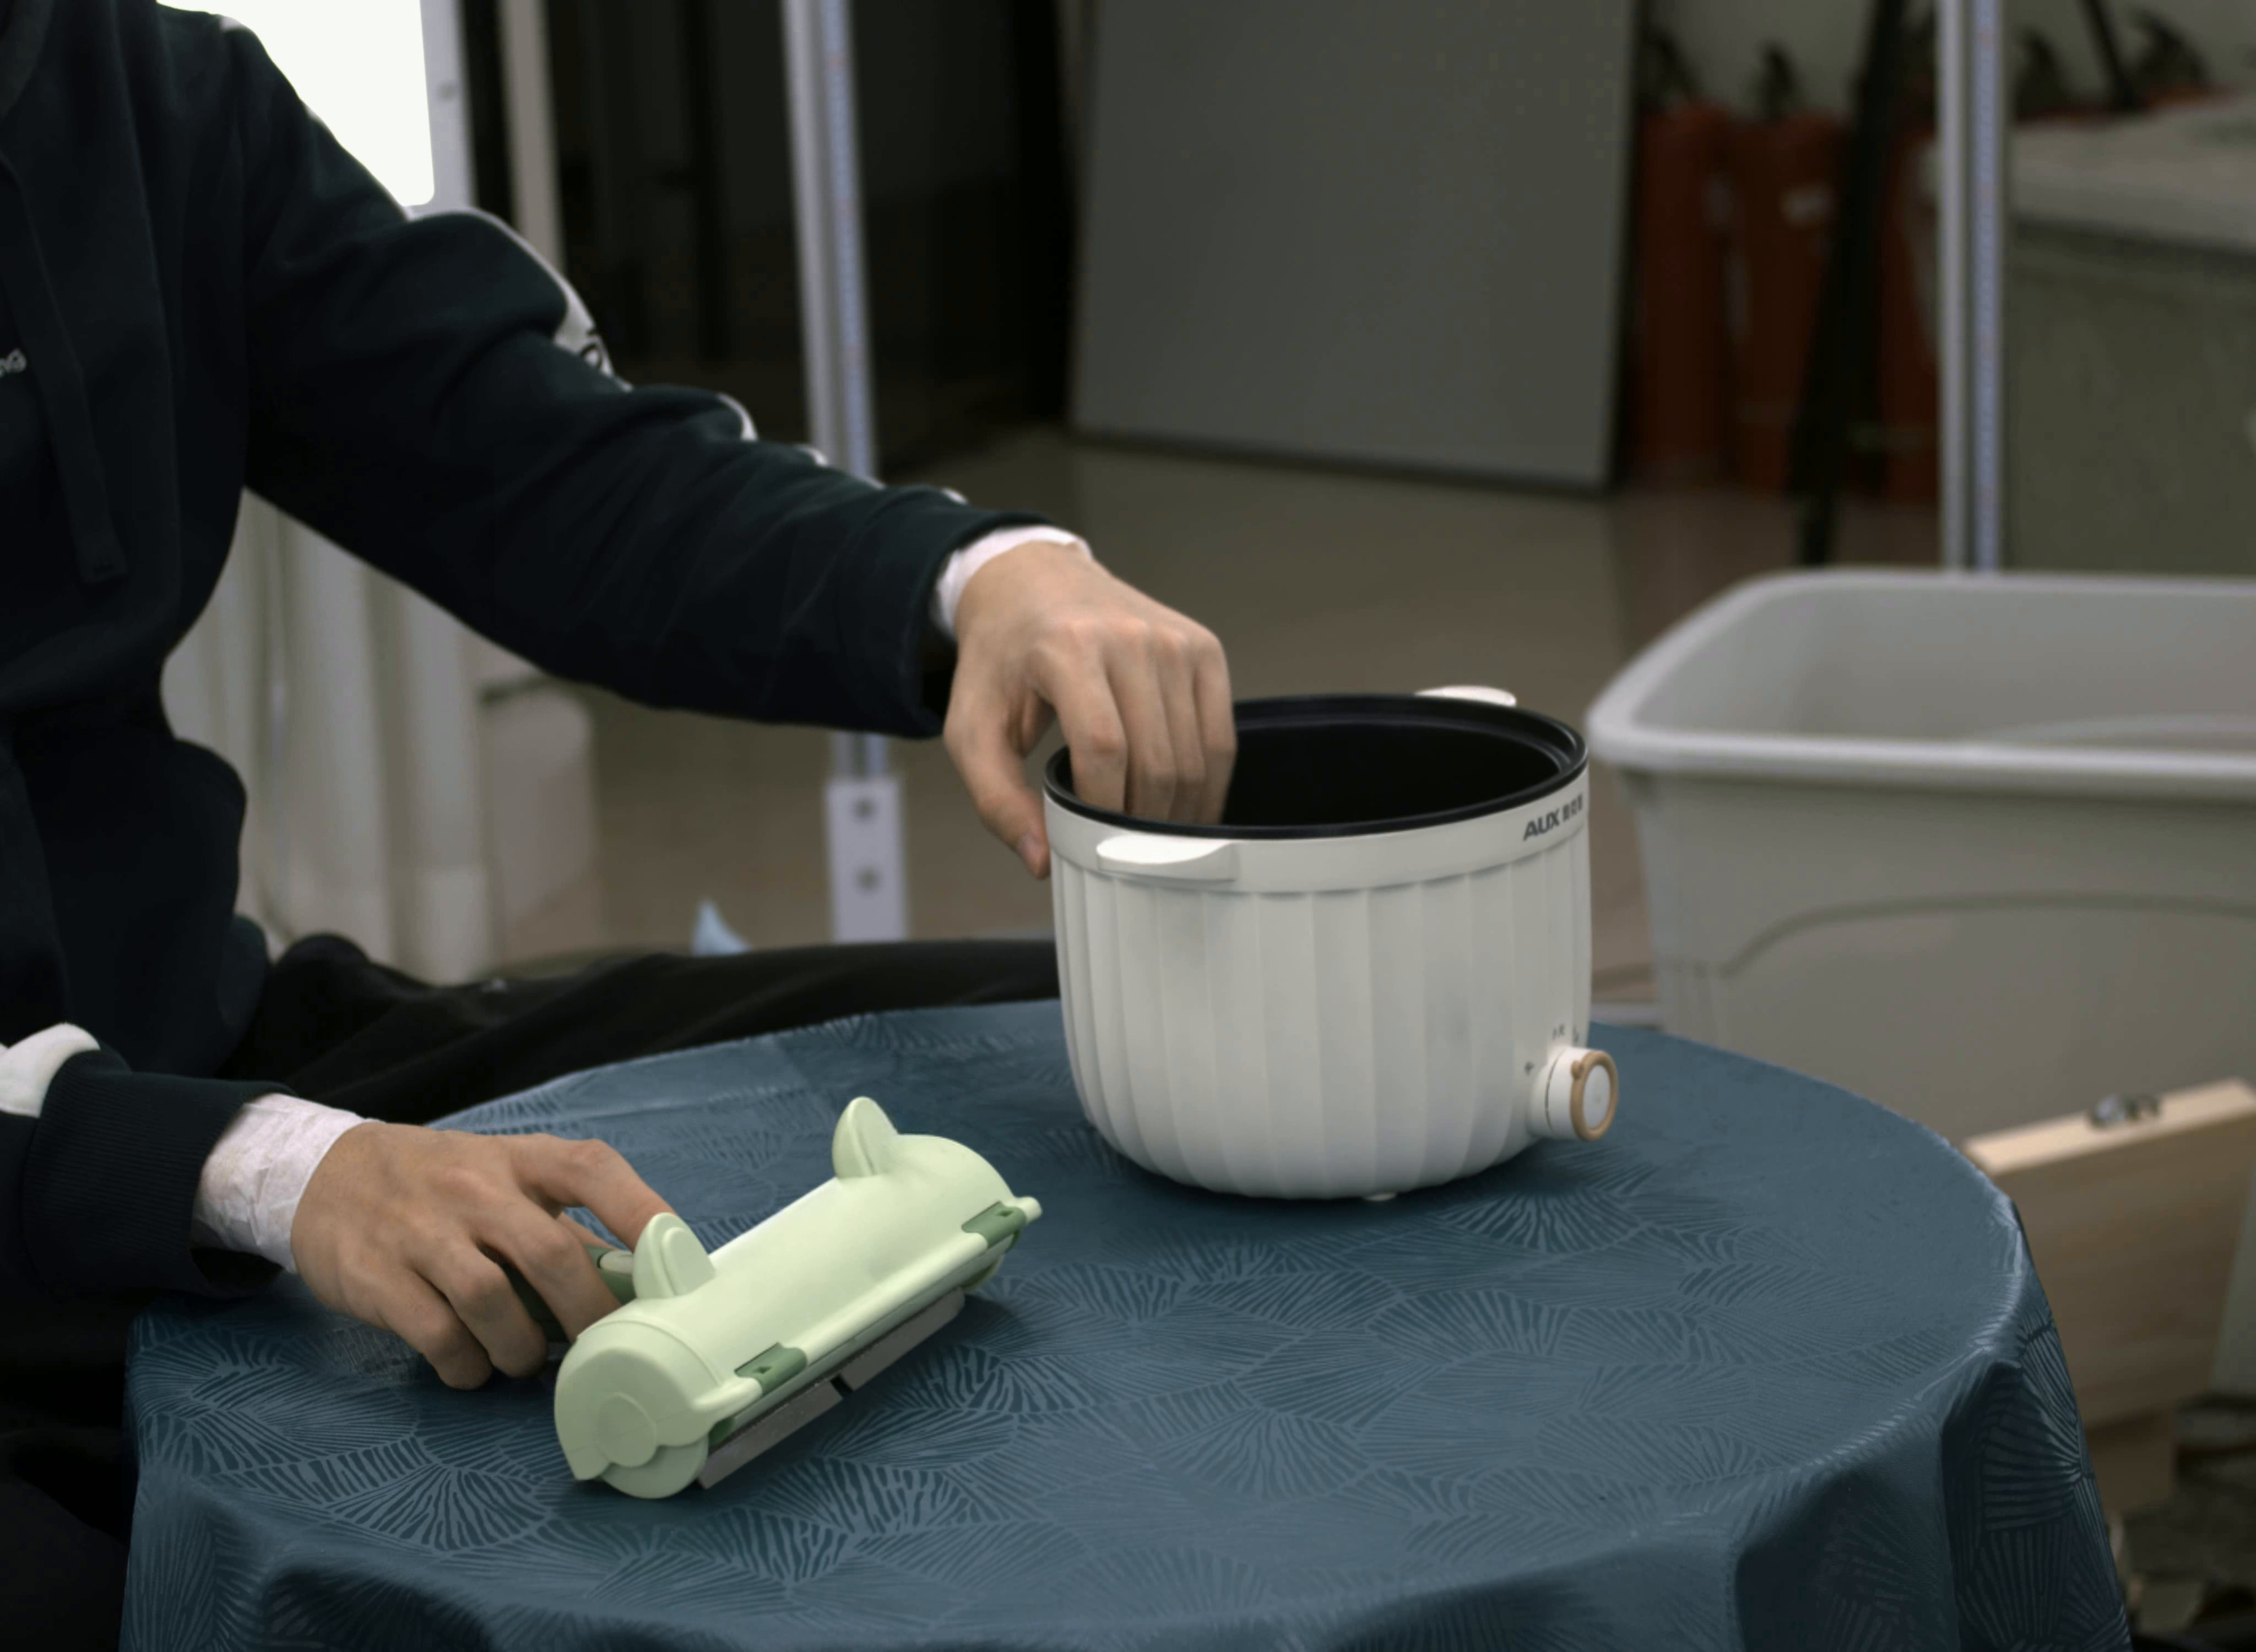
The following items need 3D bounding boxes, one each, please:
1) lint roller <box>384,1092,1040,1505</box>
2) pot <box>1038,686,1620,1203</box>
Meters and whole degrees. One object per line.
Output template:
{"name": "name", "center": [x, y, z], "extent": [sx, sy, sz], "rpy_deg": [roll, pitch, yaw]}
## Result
{"name": "lint roller", "center": [-0.147, 0.128, 1.624], "extent": [0.184, 0.083, 0.196], "rpy_deg": [10, 19, 27]}
{"name": "pot", "center": [0.070, 0.042, 1.784], "extent": [0.191, 0.144, 0.236], "rpy_deg": [1, 15, 33]}
